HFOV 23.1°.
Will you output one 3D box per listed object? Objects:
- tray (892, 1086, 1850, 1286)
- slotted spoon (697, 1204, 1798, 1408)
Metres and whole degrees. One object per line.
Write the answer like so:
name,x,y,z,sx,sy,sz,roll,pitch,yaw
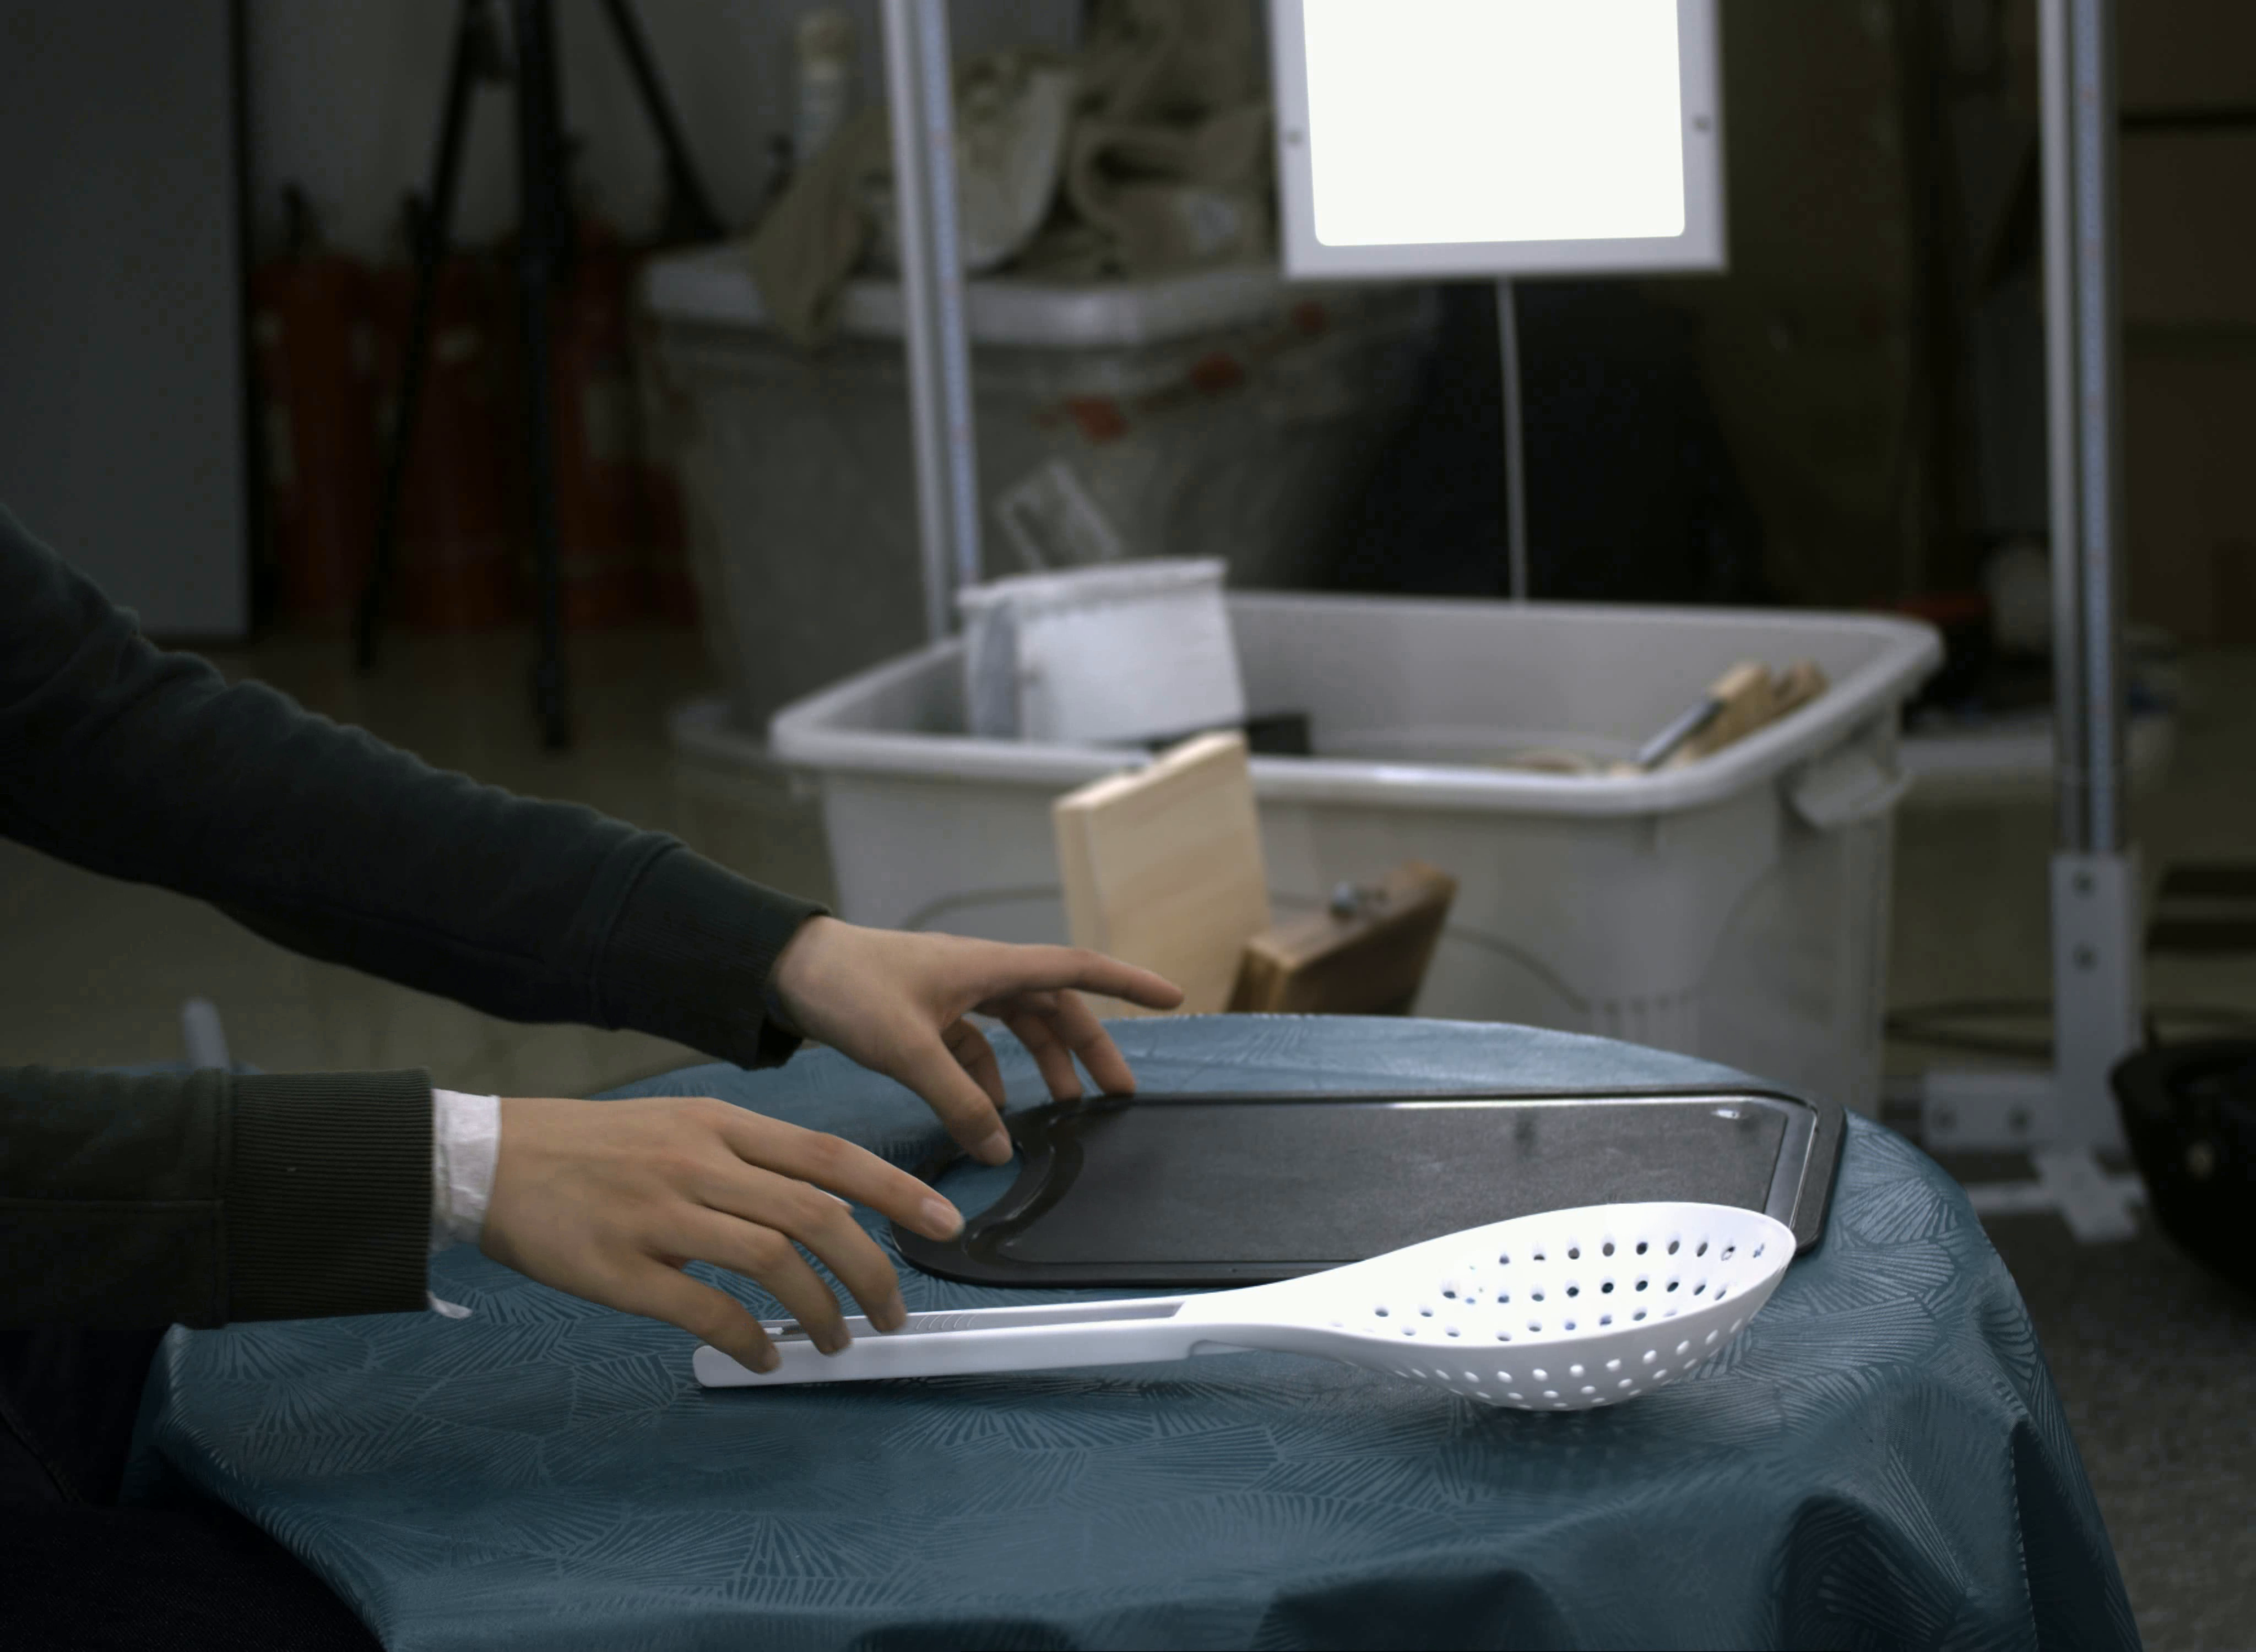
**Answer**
tray,0.081,0.120,1.880,0.328,0.010,0.208,-2,14,14
slotted spoon,0.033,0.151,1.688,0.354,0.046,0.134,-1,12,18
